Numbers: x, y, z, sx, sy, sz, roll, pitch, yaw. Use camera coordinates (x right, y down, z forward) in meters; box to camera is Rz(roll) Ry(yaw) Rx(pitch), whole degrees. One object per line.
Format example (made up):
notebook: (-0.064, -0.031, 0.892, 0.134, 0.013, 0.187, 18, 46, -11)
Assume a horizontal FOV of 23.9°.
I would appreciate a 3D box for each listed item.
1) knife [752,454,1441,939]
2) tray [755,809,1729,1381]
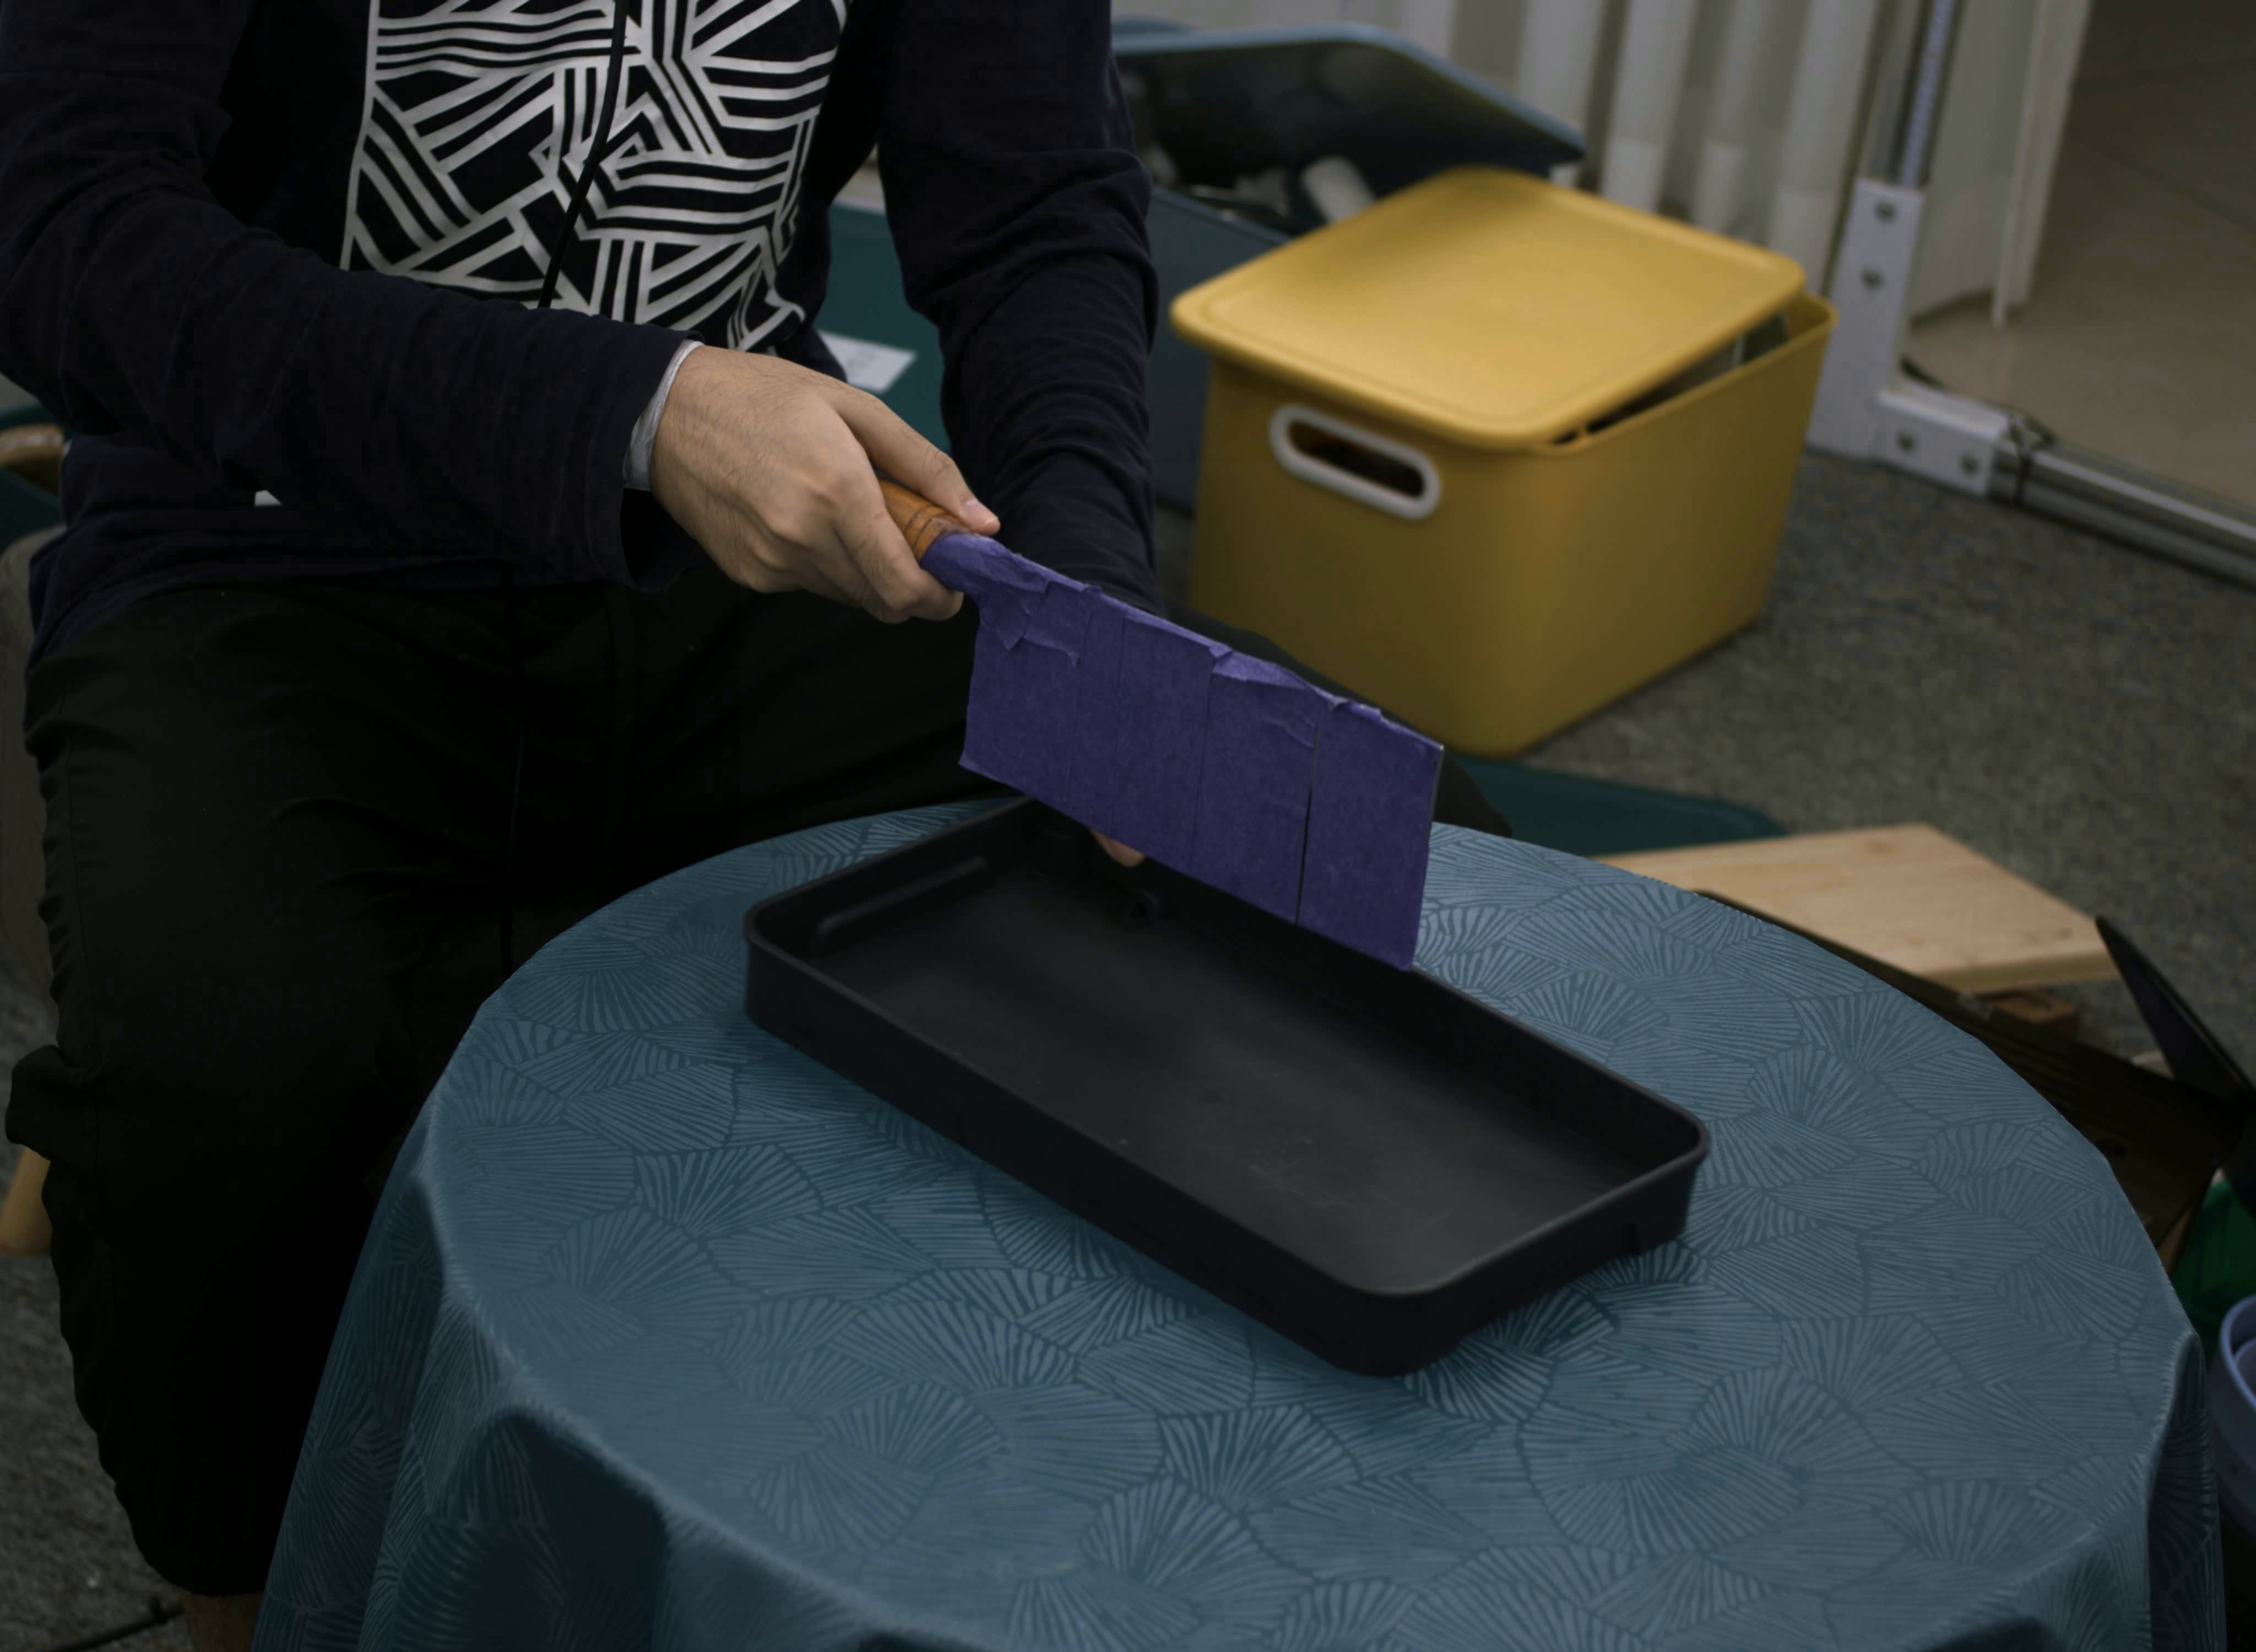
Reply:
knife: (-0.018, -0.045, 1.908, 0.317, 0.103, 0.032, 25, 29, 35)
tray: (0.035, 0.087, 1.849, 0.320, 0.037, 0.183, 26, 33, 35)
